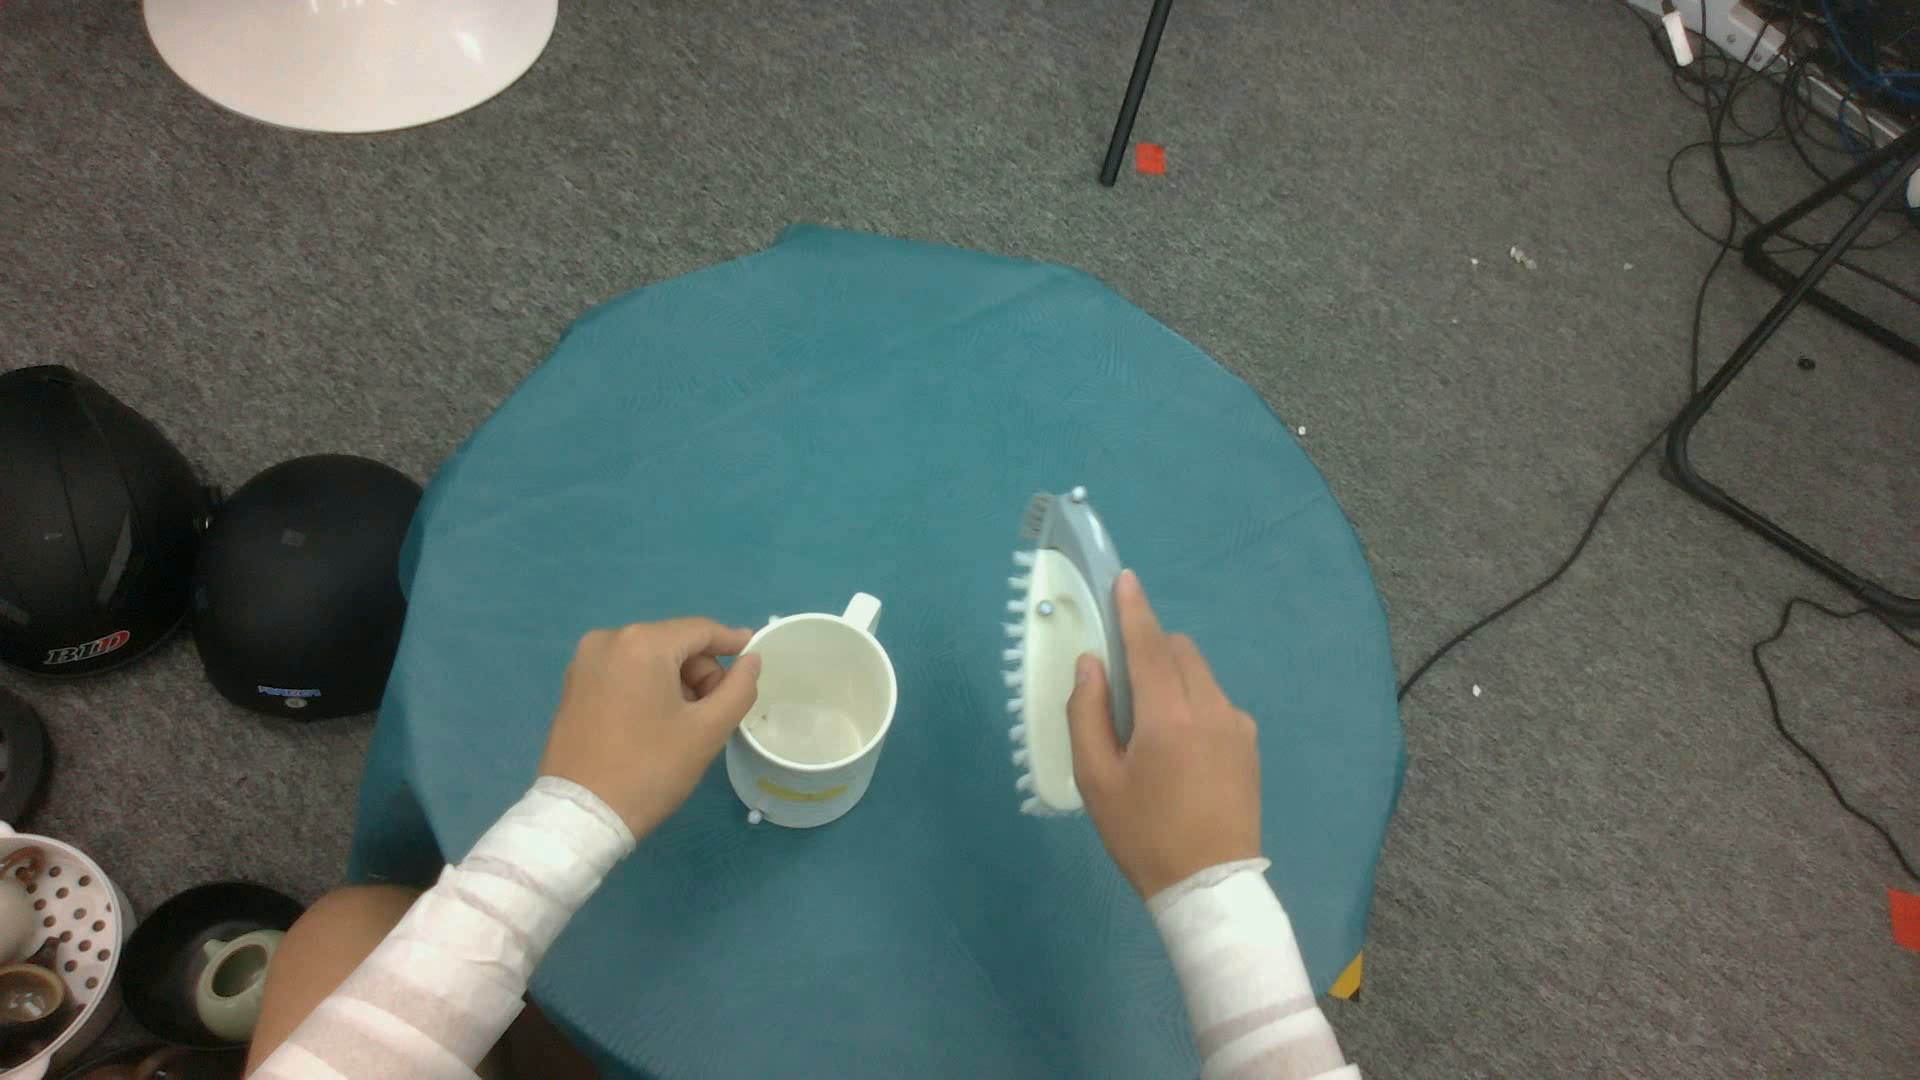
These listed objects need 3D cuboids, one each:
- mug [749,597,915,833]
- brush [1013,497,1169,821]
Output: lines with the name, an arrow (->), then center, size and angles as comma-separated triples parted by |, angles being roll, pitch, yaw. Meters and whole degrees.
mug -> -0.067, 0.092, 0.756 | 0.085, 0.101, 0.119 | 21, 58, 3
brush -> 0.070, 0.055, 0.720 | 0.061, 0.094, 0.176 | 2, 75, -25
